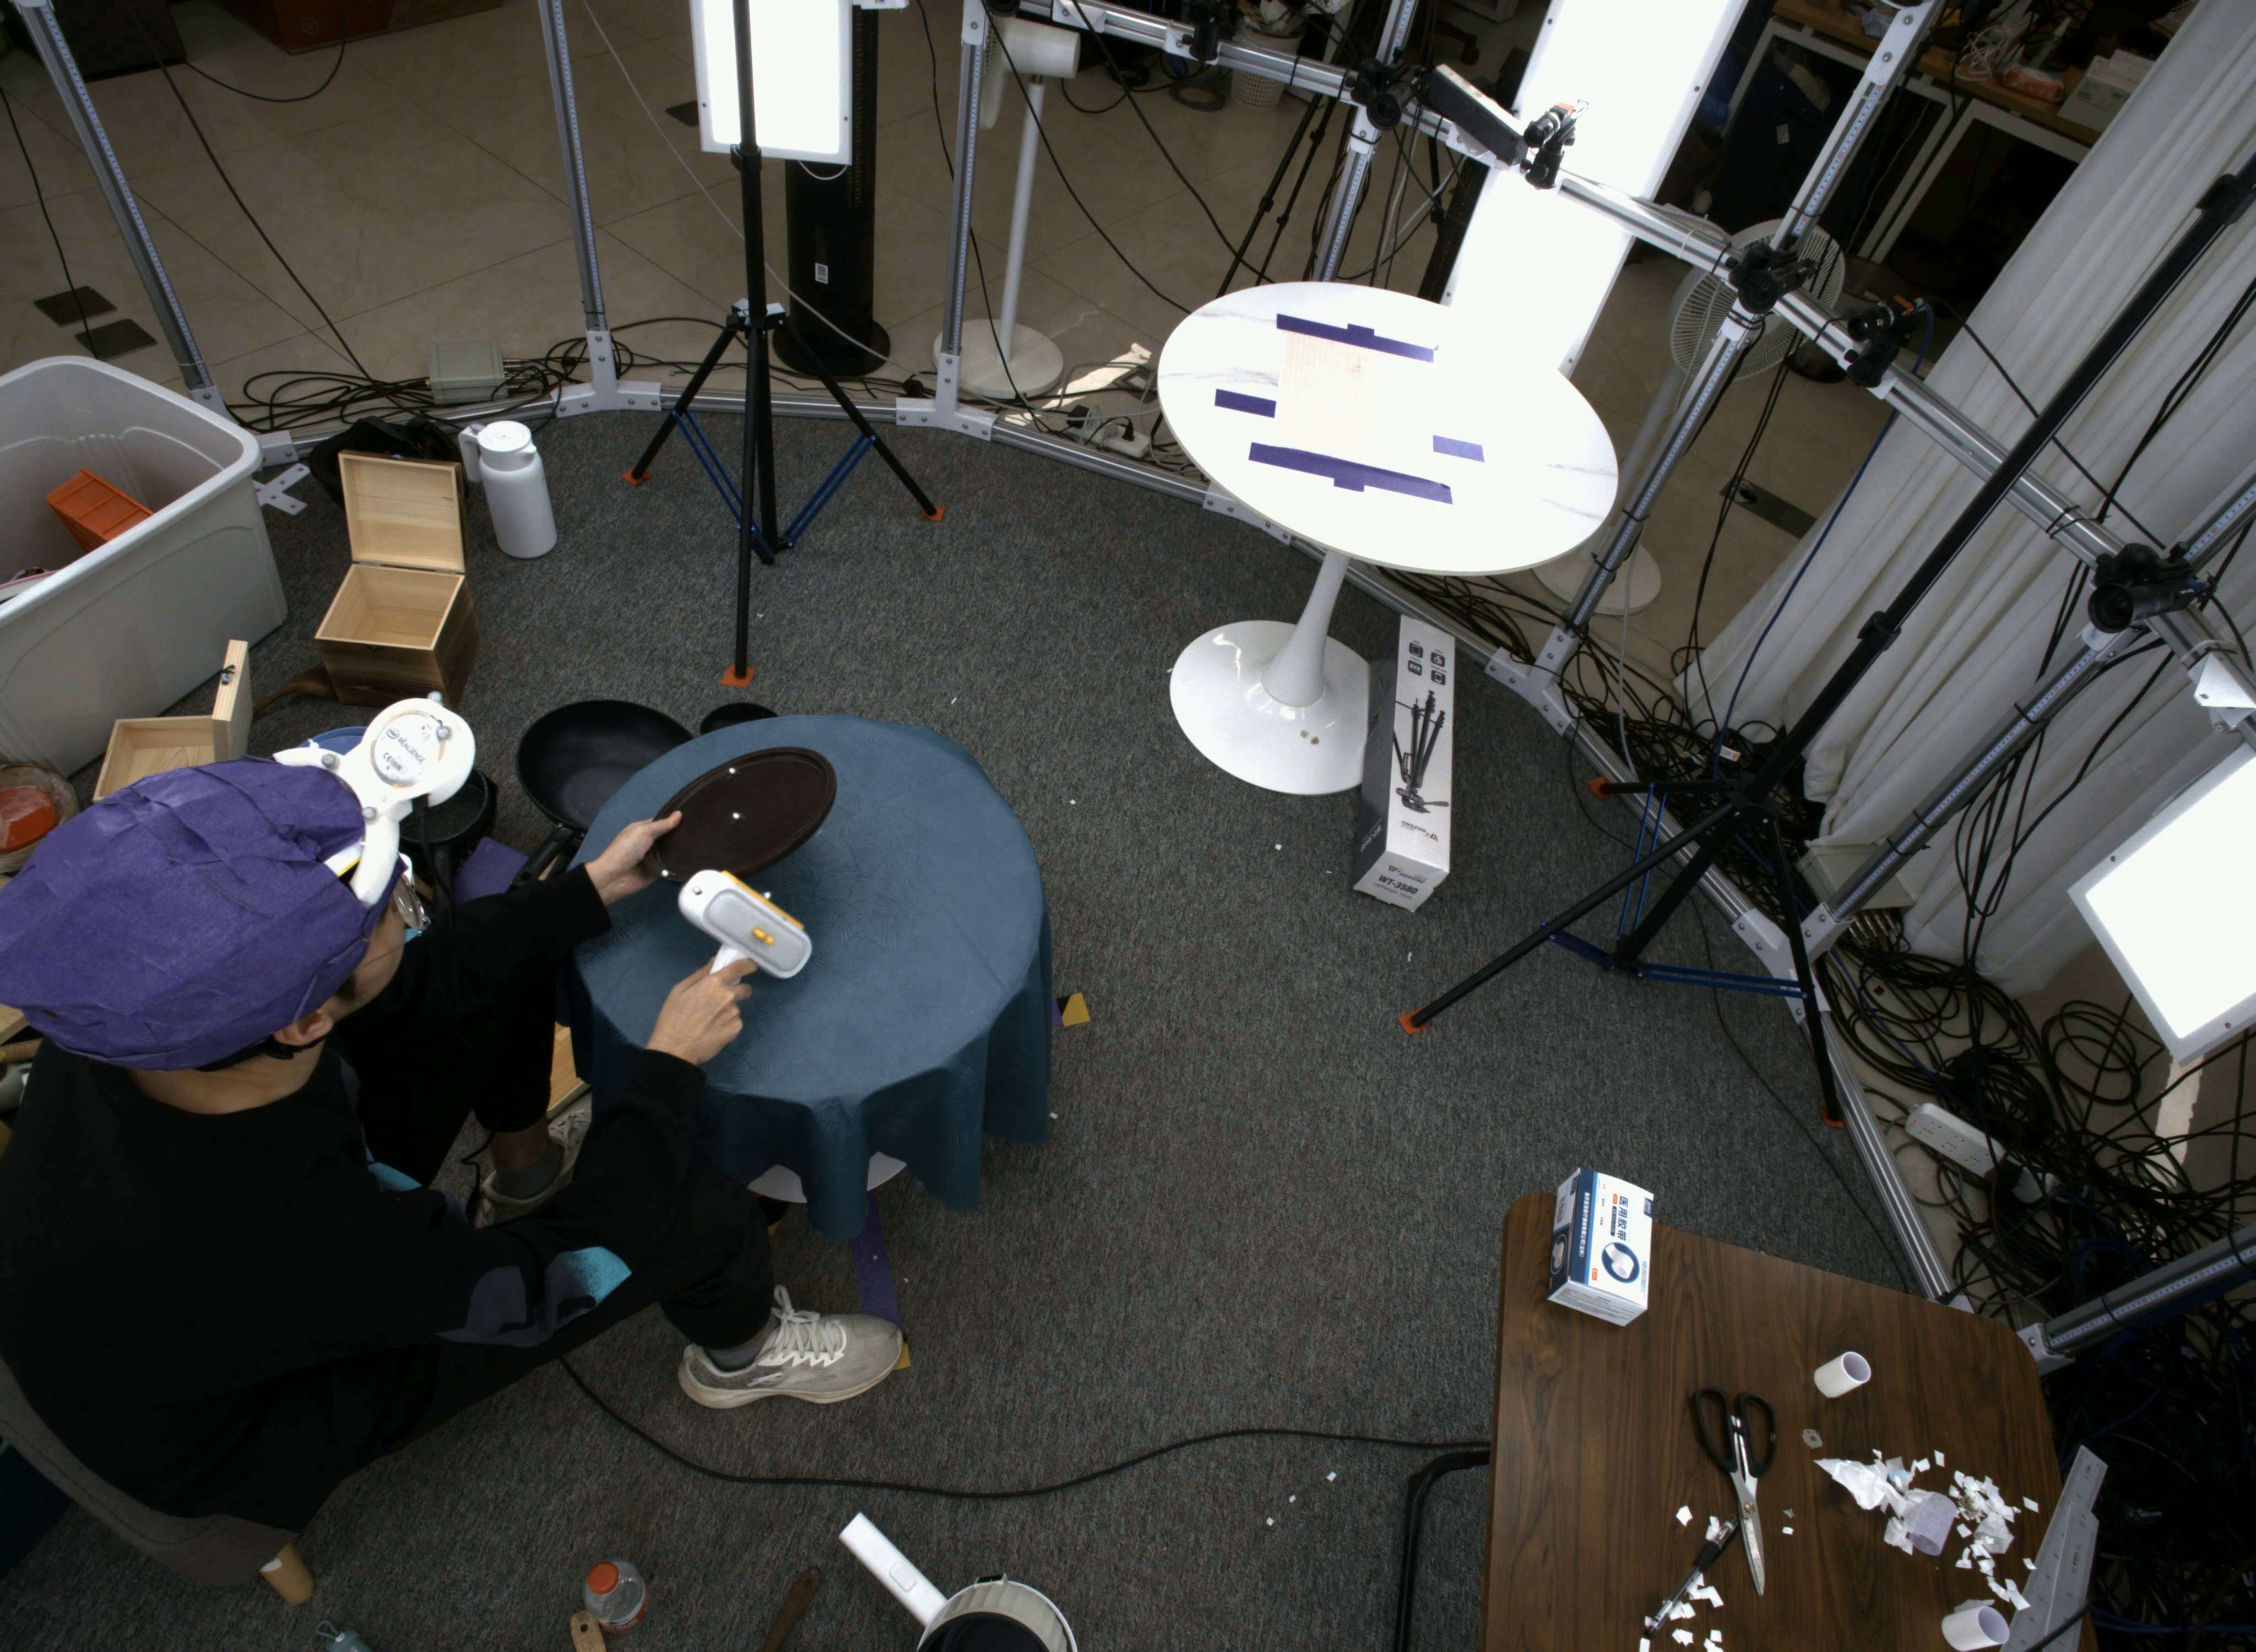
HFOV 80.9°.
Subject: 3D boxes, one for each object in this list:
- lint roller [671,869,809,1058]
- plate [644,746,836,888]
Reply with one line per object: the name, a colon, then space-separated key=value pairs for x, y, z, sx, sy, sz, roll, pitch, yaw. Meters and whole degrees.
lint roller: x=-0.466 y=0.167 z=1.493 sx=0.071 sy=0.199 sz=0.192 roll=16 pitch=74 yaw=30
plate: x=-0.476 y=-0.013 z=1.589 sx=0.250 sy=0.030 sz=0.249 roll=-10 pitch=42 yaw=10
